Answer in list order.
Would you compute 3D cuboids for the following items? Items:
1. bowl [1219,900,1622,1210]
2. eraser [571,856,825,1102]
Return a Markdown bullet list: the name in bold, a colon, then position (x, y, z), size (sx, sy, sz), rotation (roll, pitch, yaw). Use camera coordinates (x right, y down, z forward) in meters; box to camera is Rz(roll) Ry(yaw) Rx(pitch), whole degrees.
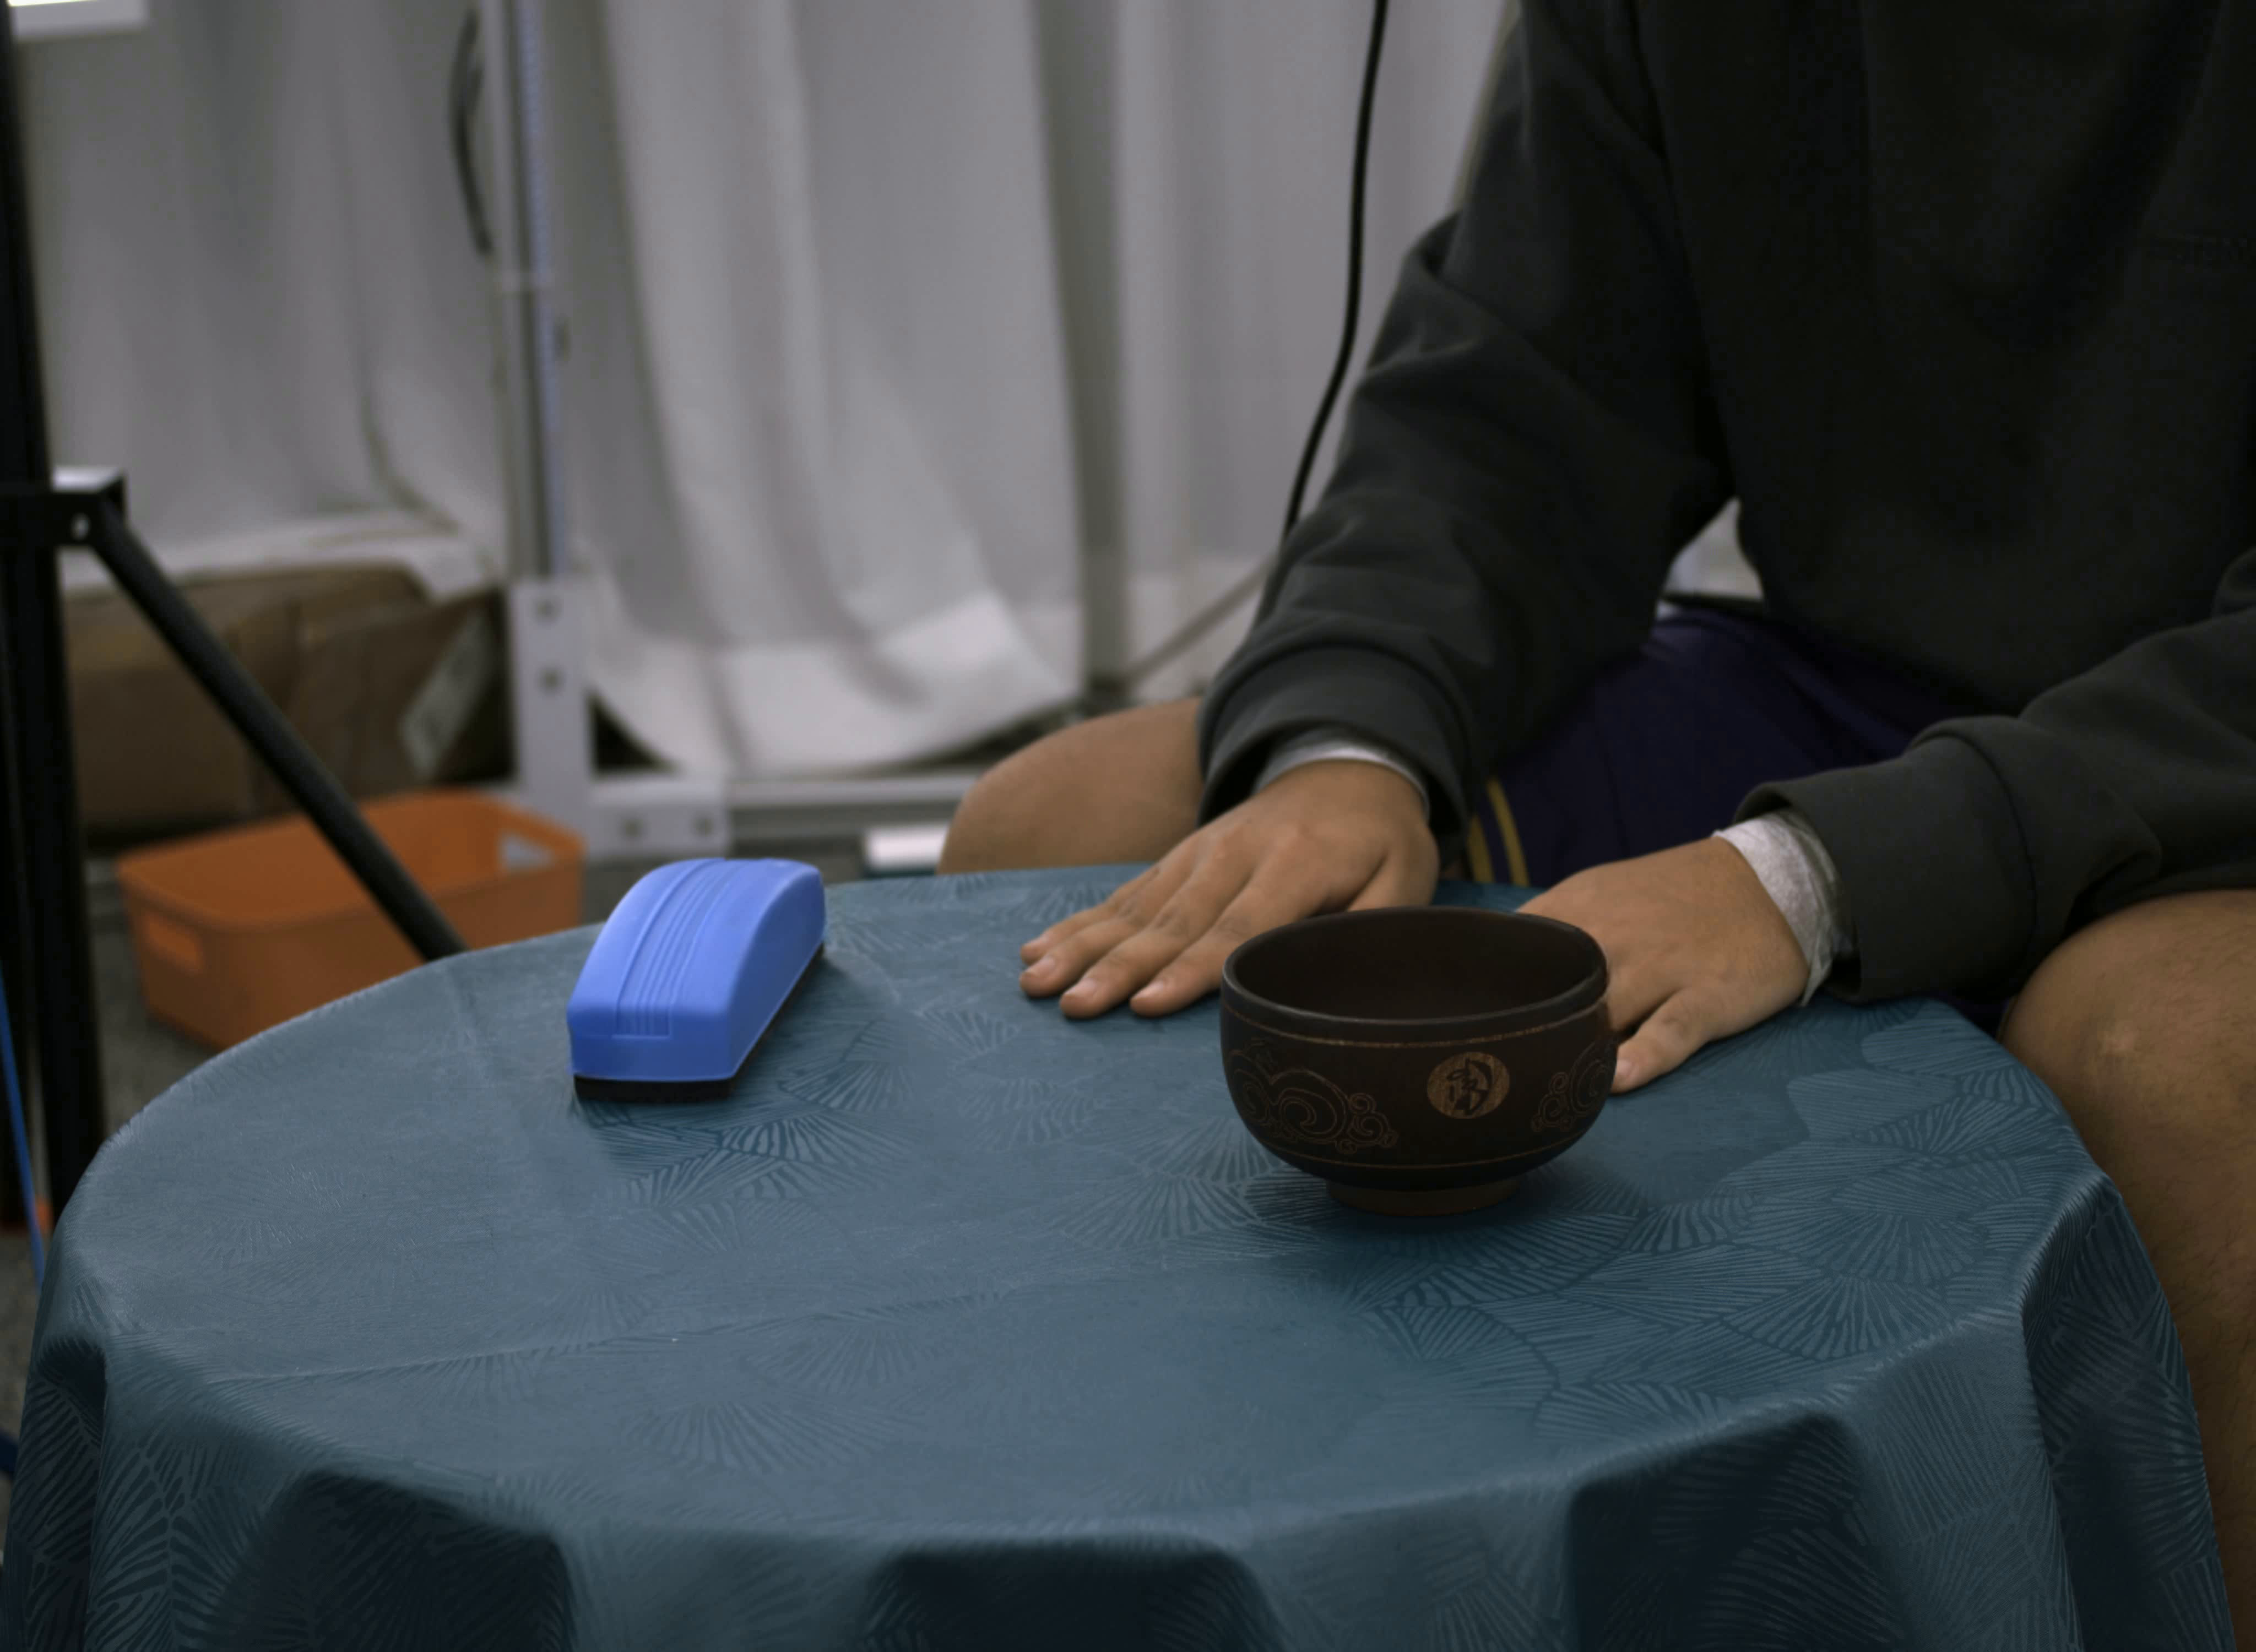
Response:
- **bowl**: position (0.085, 0.071, 1.543), size (0.117, 0.070, 0.118), rotation (-3, 14, -1)
- **eraser**: position (-0.138, 0.043, 1.729), size (0.054, 0.047, 0.162), rotation (-2, 16, 9)
